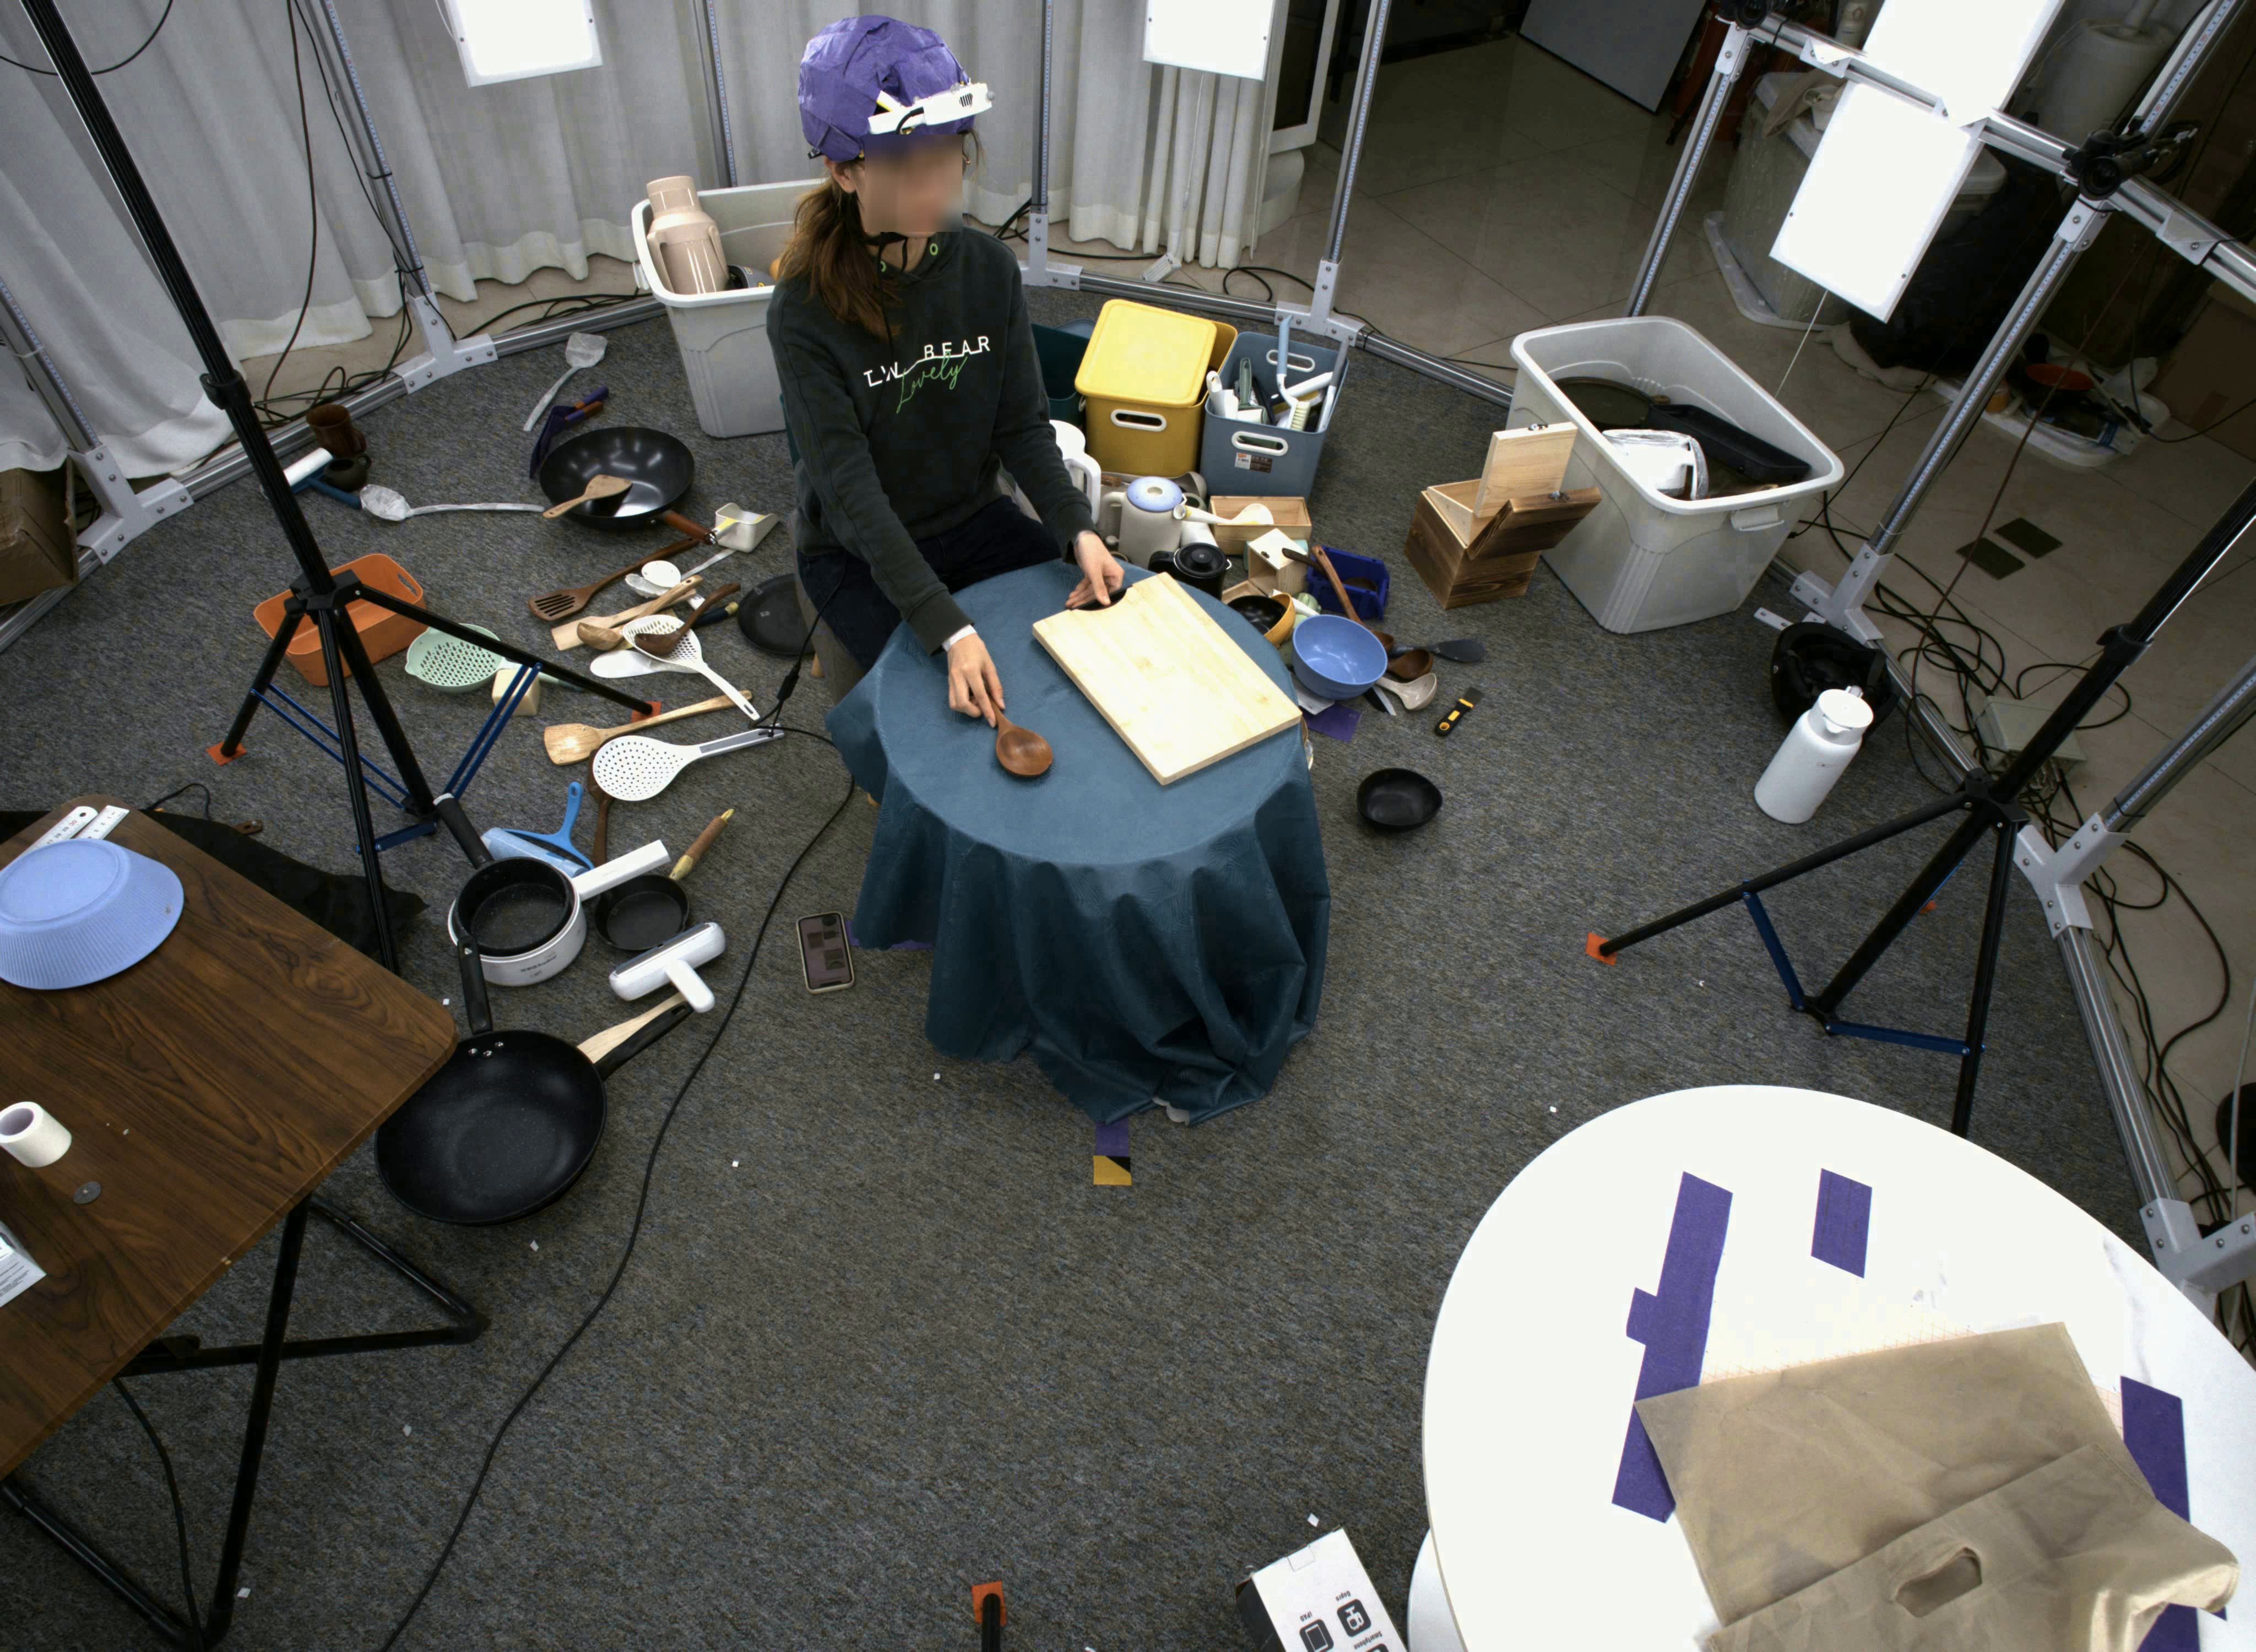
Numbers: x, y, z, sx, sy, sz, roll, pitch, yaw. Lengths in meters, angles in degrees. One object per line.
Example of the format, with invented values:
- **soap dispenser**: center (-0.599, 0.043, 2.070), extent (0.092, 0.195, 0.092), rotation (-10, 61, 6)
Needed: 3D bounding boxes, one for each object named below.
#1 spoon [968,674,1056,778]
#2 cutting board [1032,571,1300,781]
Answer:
- **spoon**: center (-0.169, -0.140, 1.783), extent (0.075, 0.017, 0.220), rotation (-21, 54, -19)
- **cutting board**: center (0.050, -0.225, 1.866), extent (0.252, 0.023, 0.355), rotation (-25, 57, -24)
